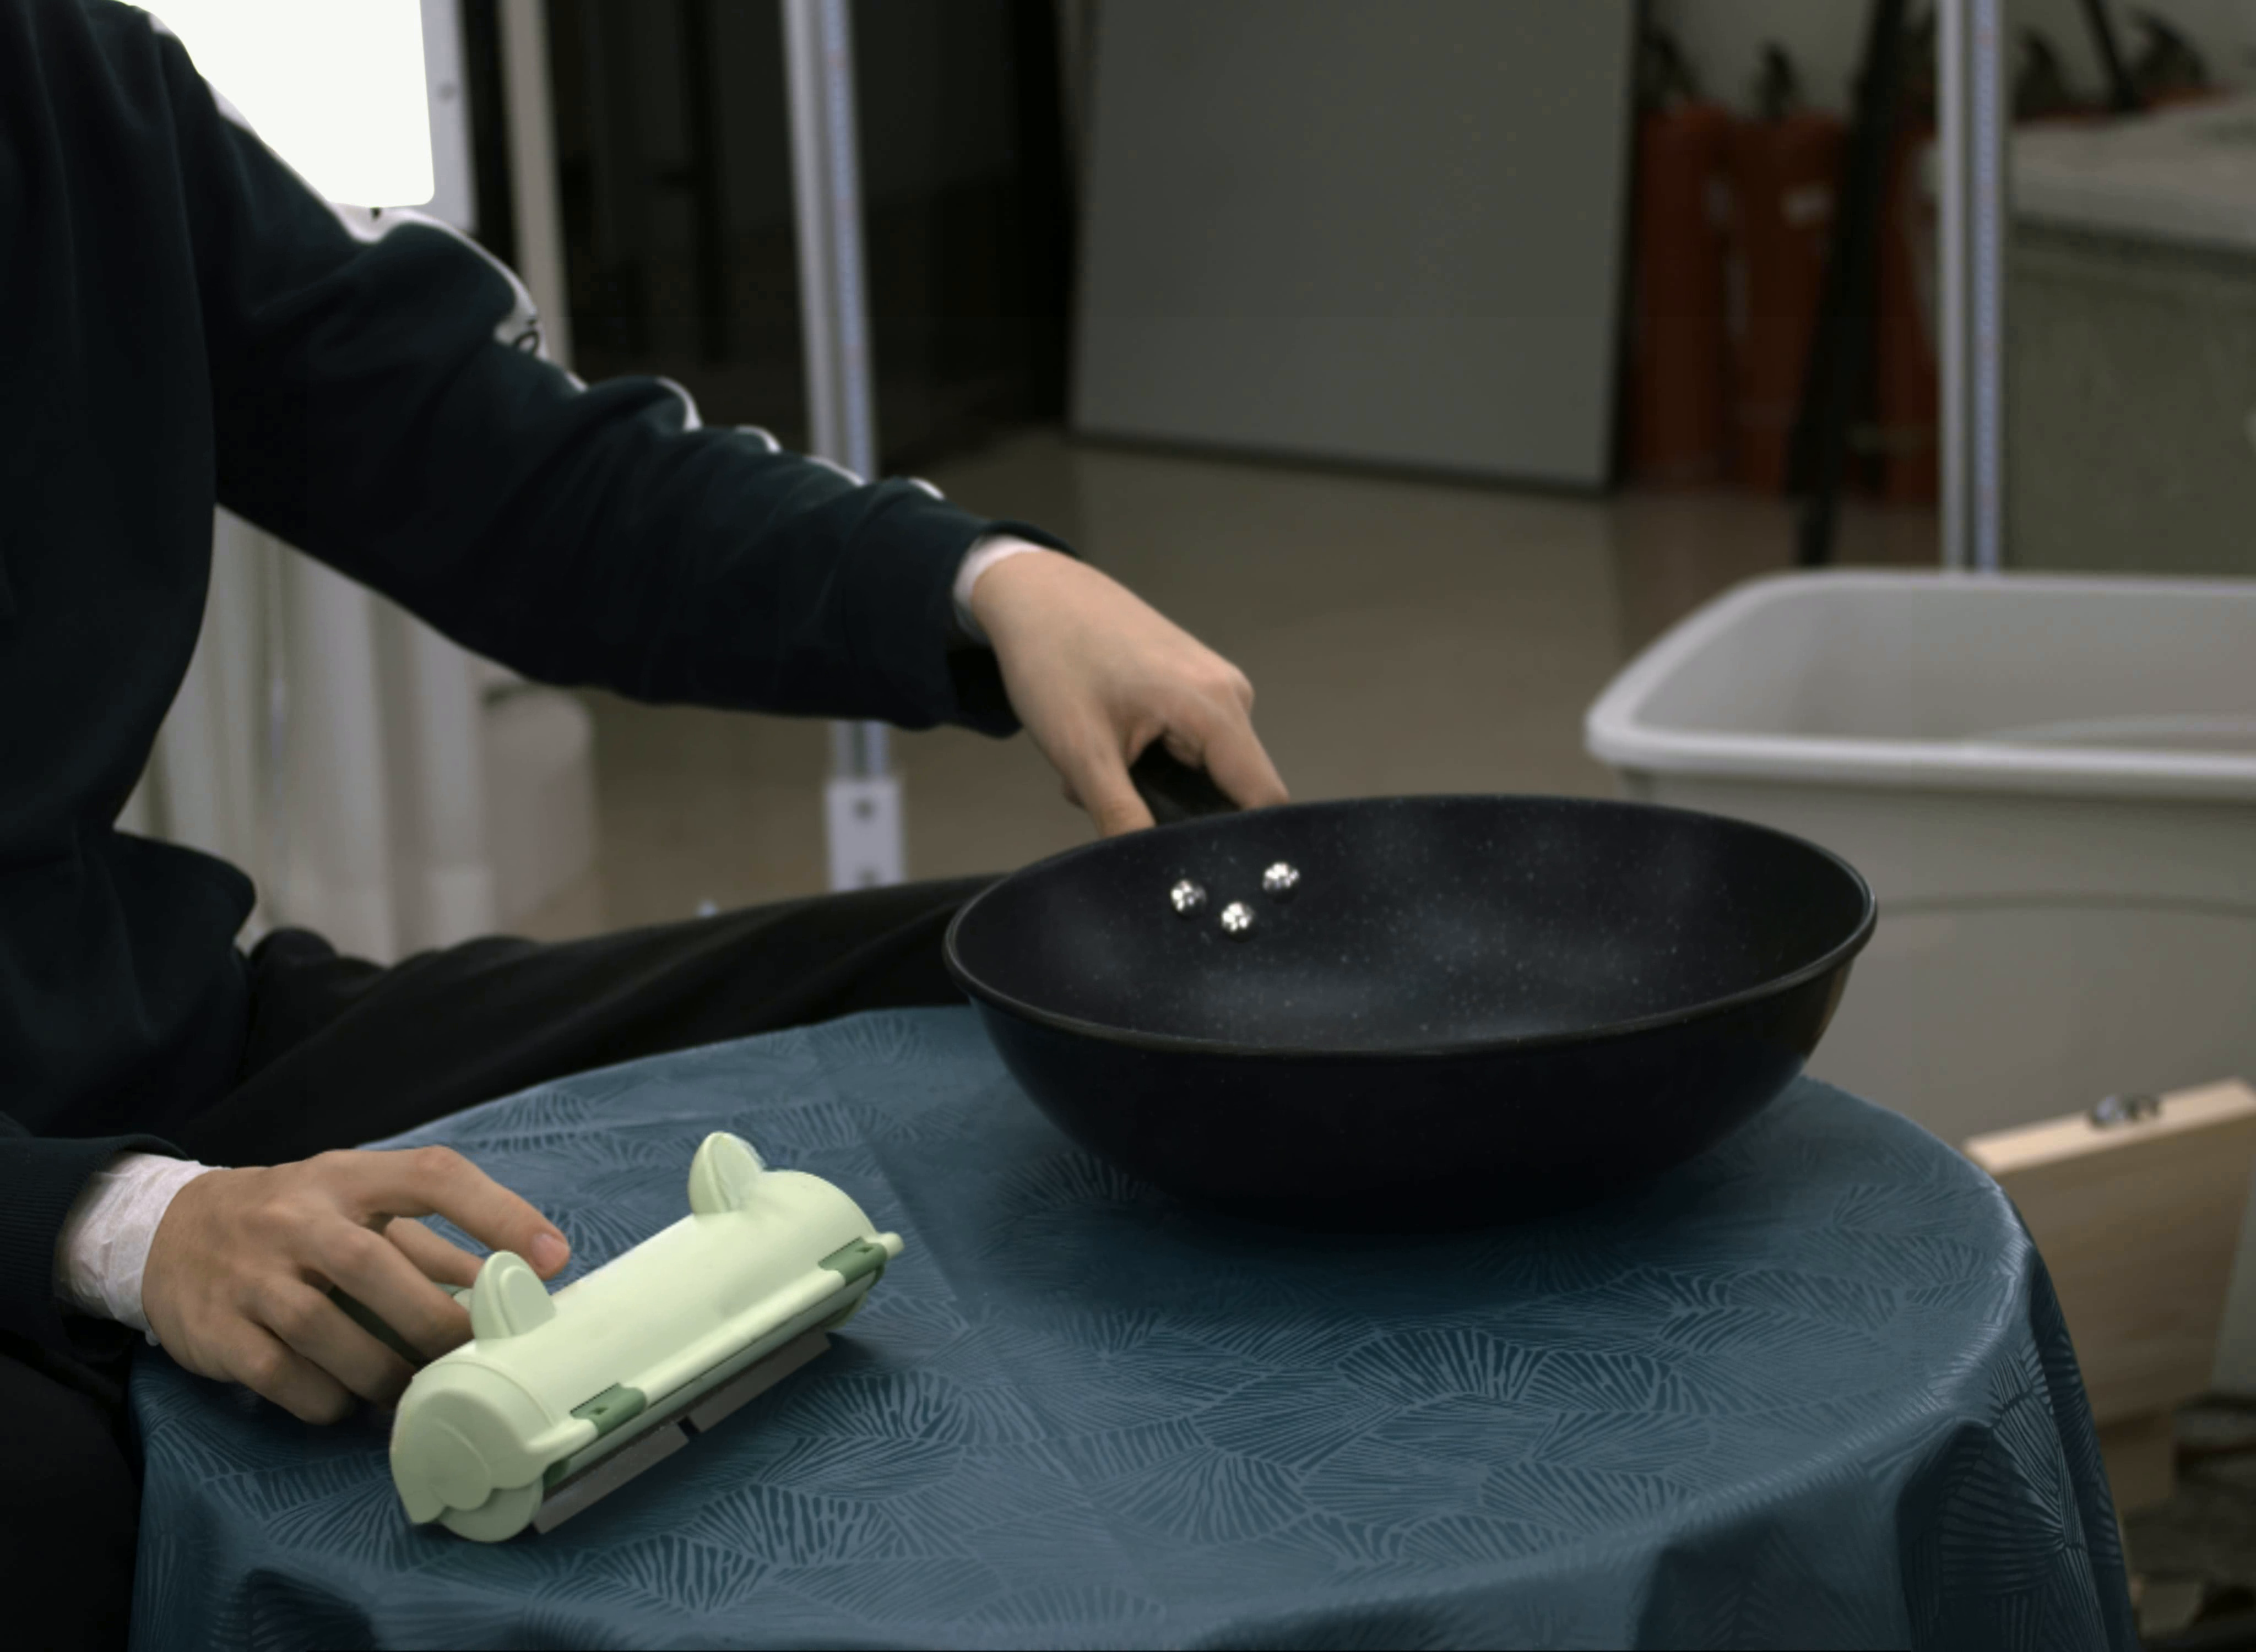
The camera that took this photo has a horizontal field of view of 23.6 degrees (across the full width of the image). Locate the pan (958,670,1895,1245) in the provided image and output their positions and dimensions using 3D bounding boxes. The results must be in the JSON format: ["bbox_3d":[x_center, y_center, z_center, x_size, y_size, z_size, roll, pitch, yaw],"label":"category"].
[{"bbox_3d":[0.064,0.044,1.845,0.303,0.113,0.481,-8,15,-22],"label":"pan"}]

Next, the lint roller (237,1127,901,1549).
[{"bbox_3d":[-0.189,0.138,1.599,0.184,0.083,0.196,9,19,28],"label":"lint roller"}]
